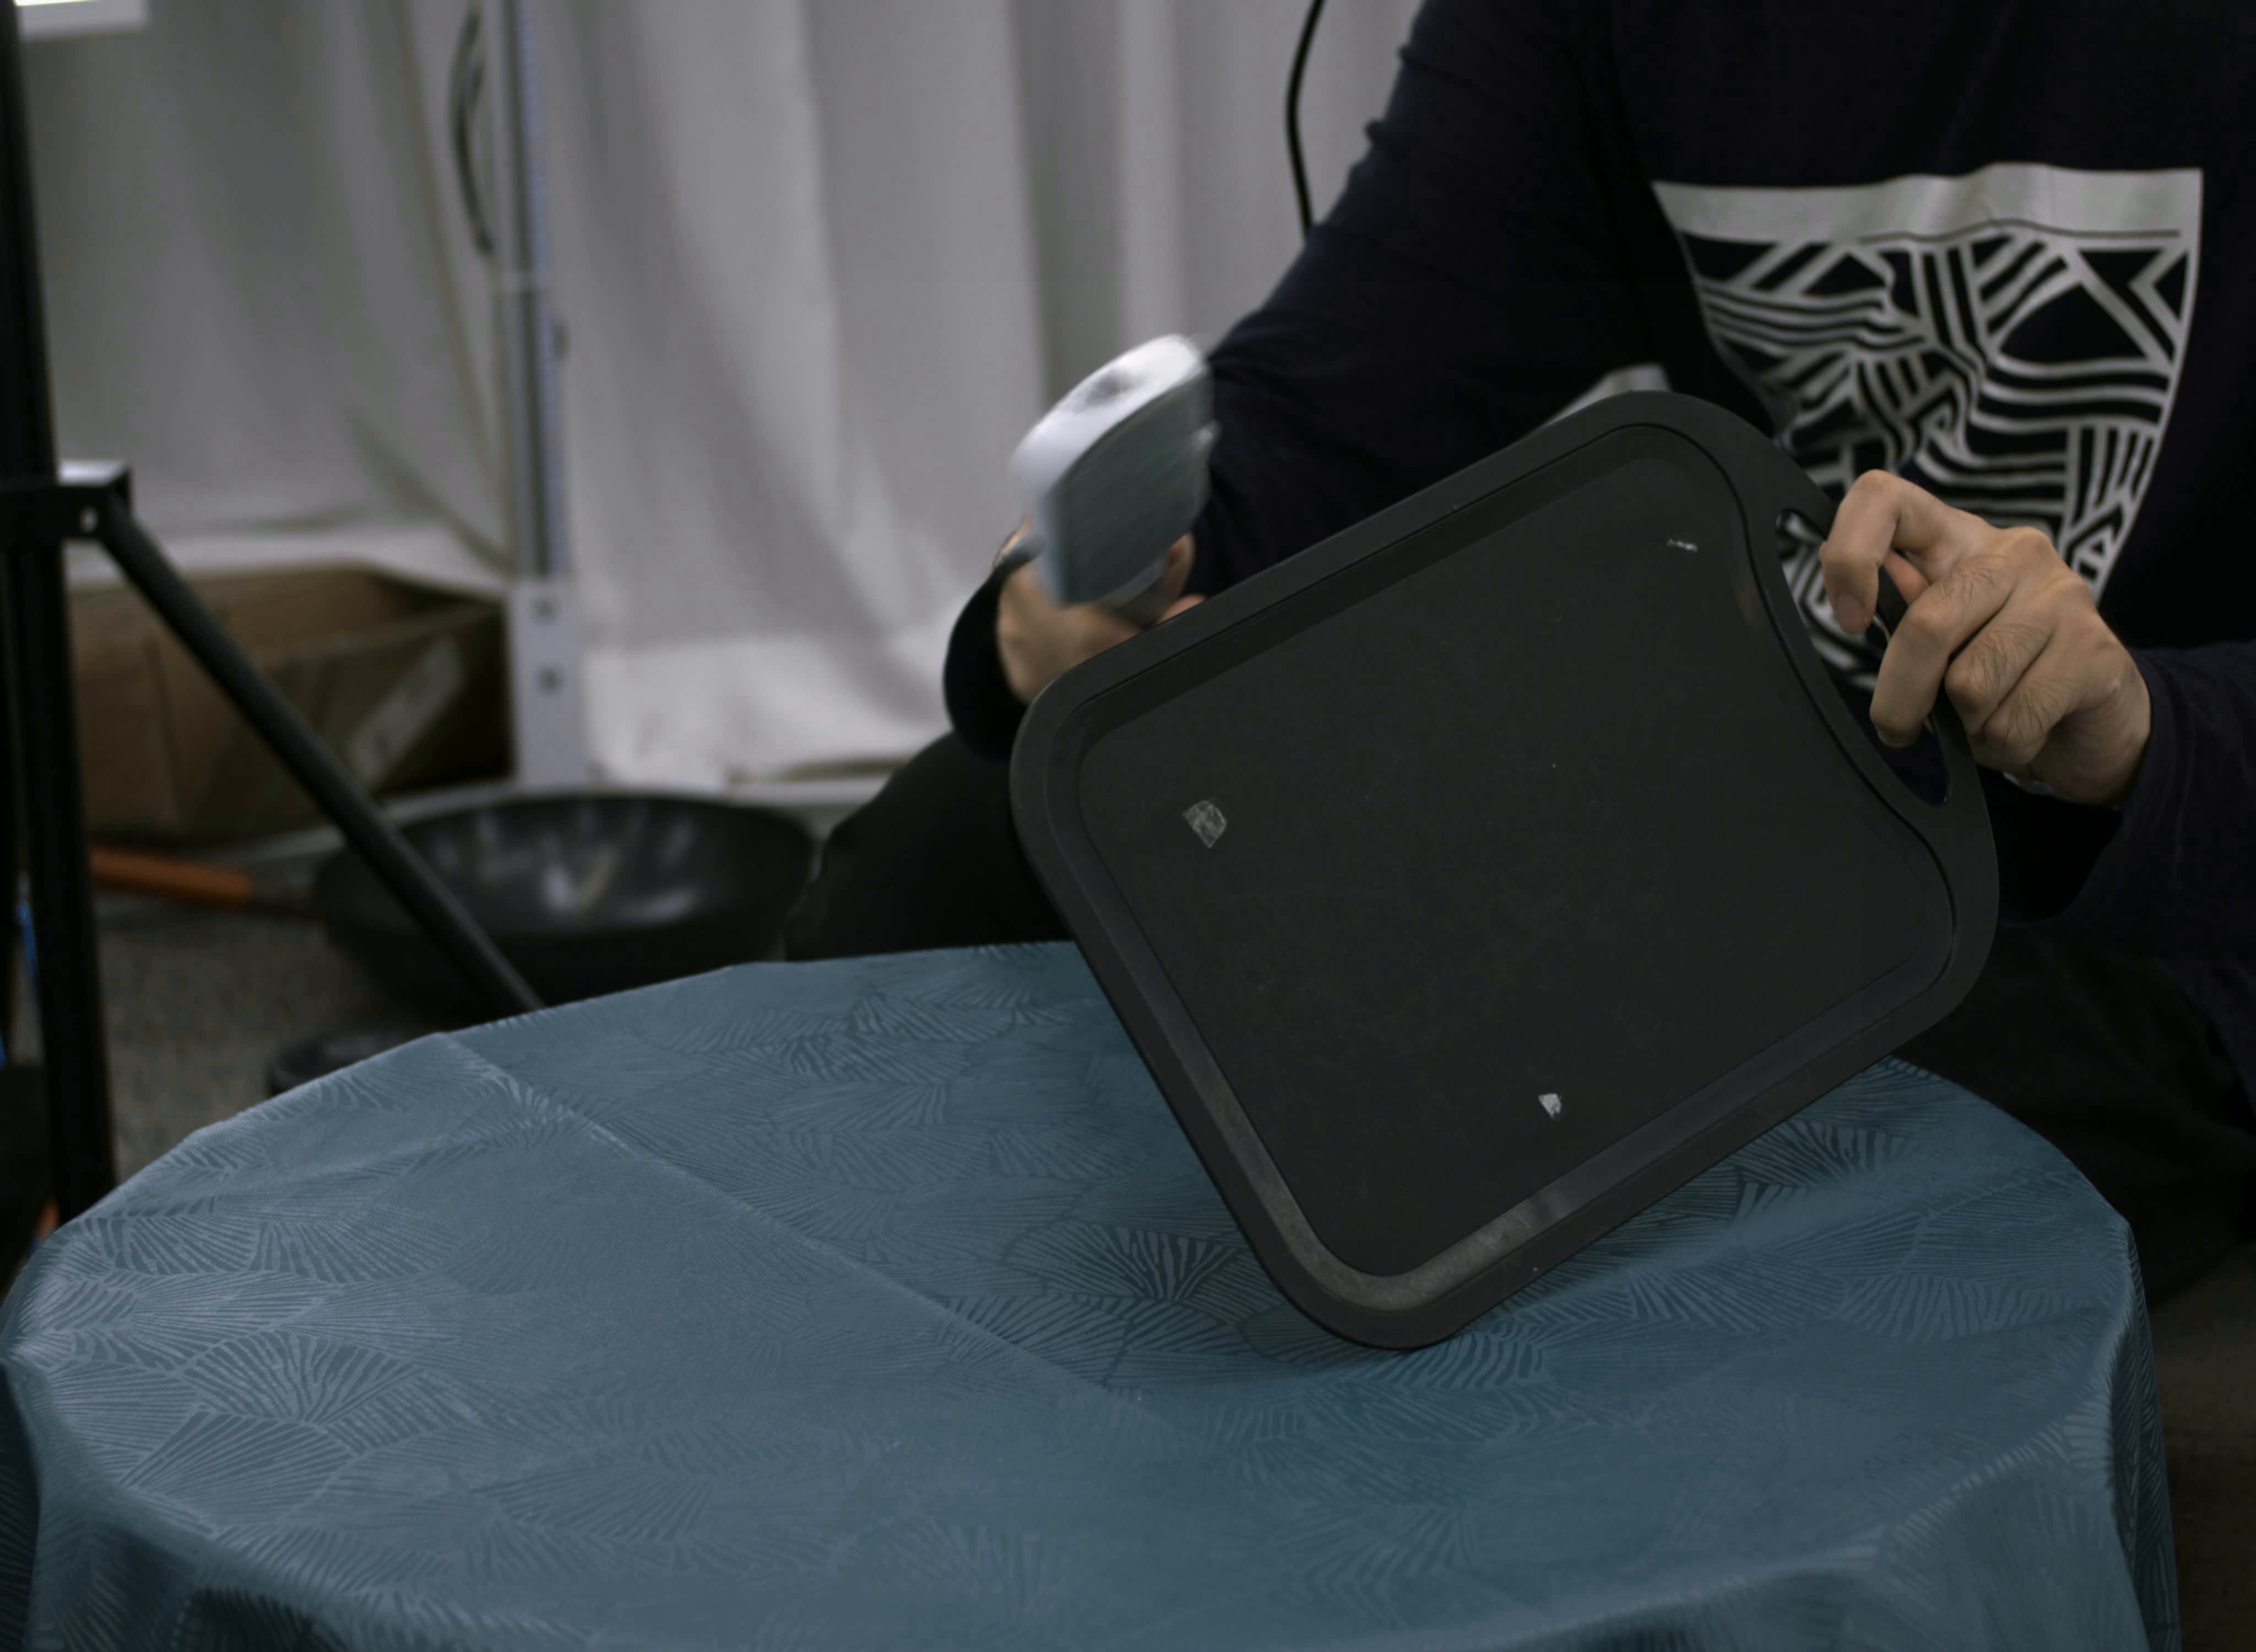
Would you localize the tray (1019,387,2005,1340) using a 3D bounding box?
[{"bbox_3d":[0.122,0.000,1.510,0.319,0.212,0.010,-26,-6,-34],"label":"tray"}]

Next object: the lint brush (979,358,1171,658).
[{"bbox_3d":[-0.011,-0.085,1.597,0.060,0.021,0.307,-40,-9,-5],"label":"lint brush"}]
